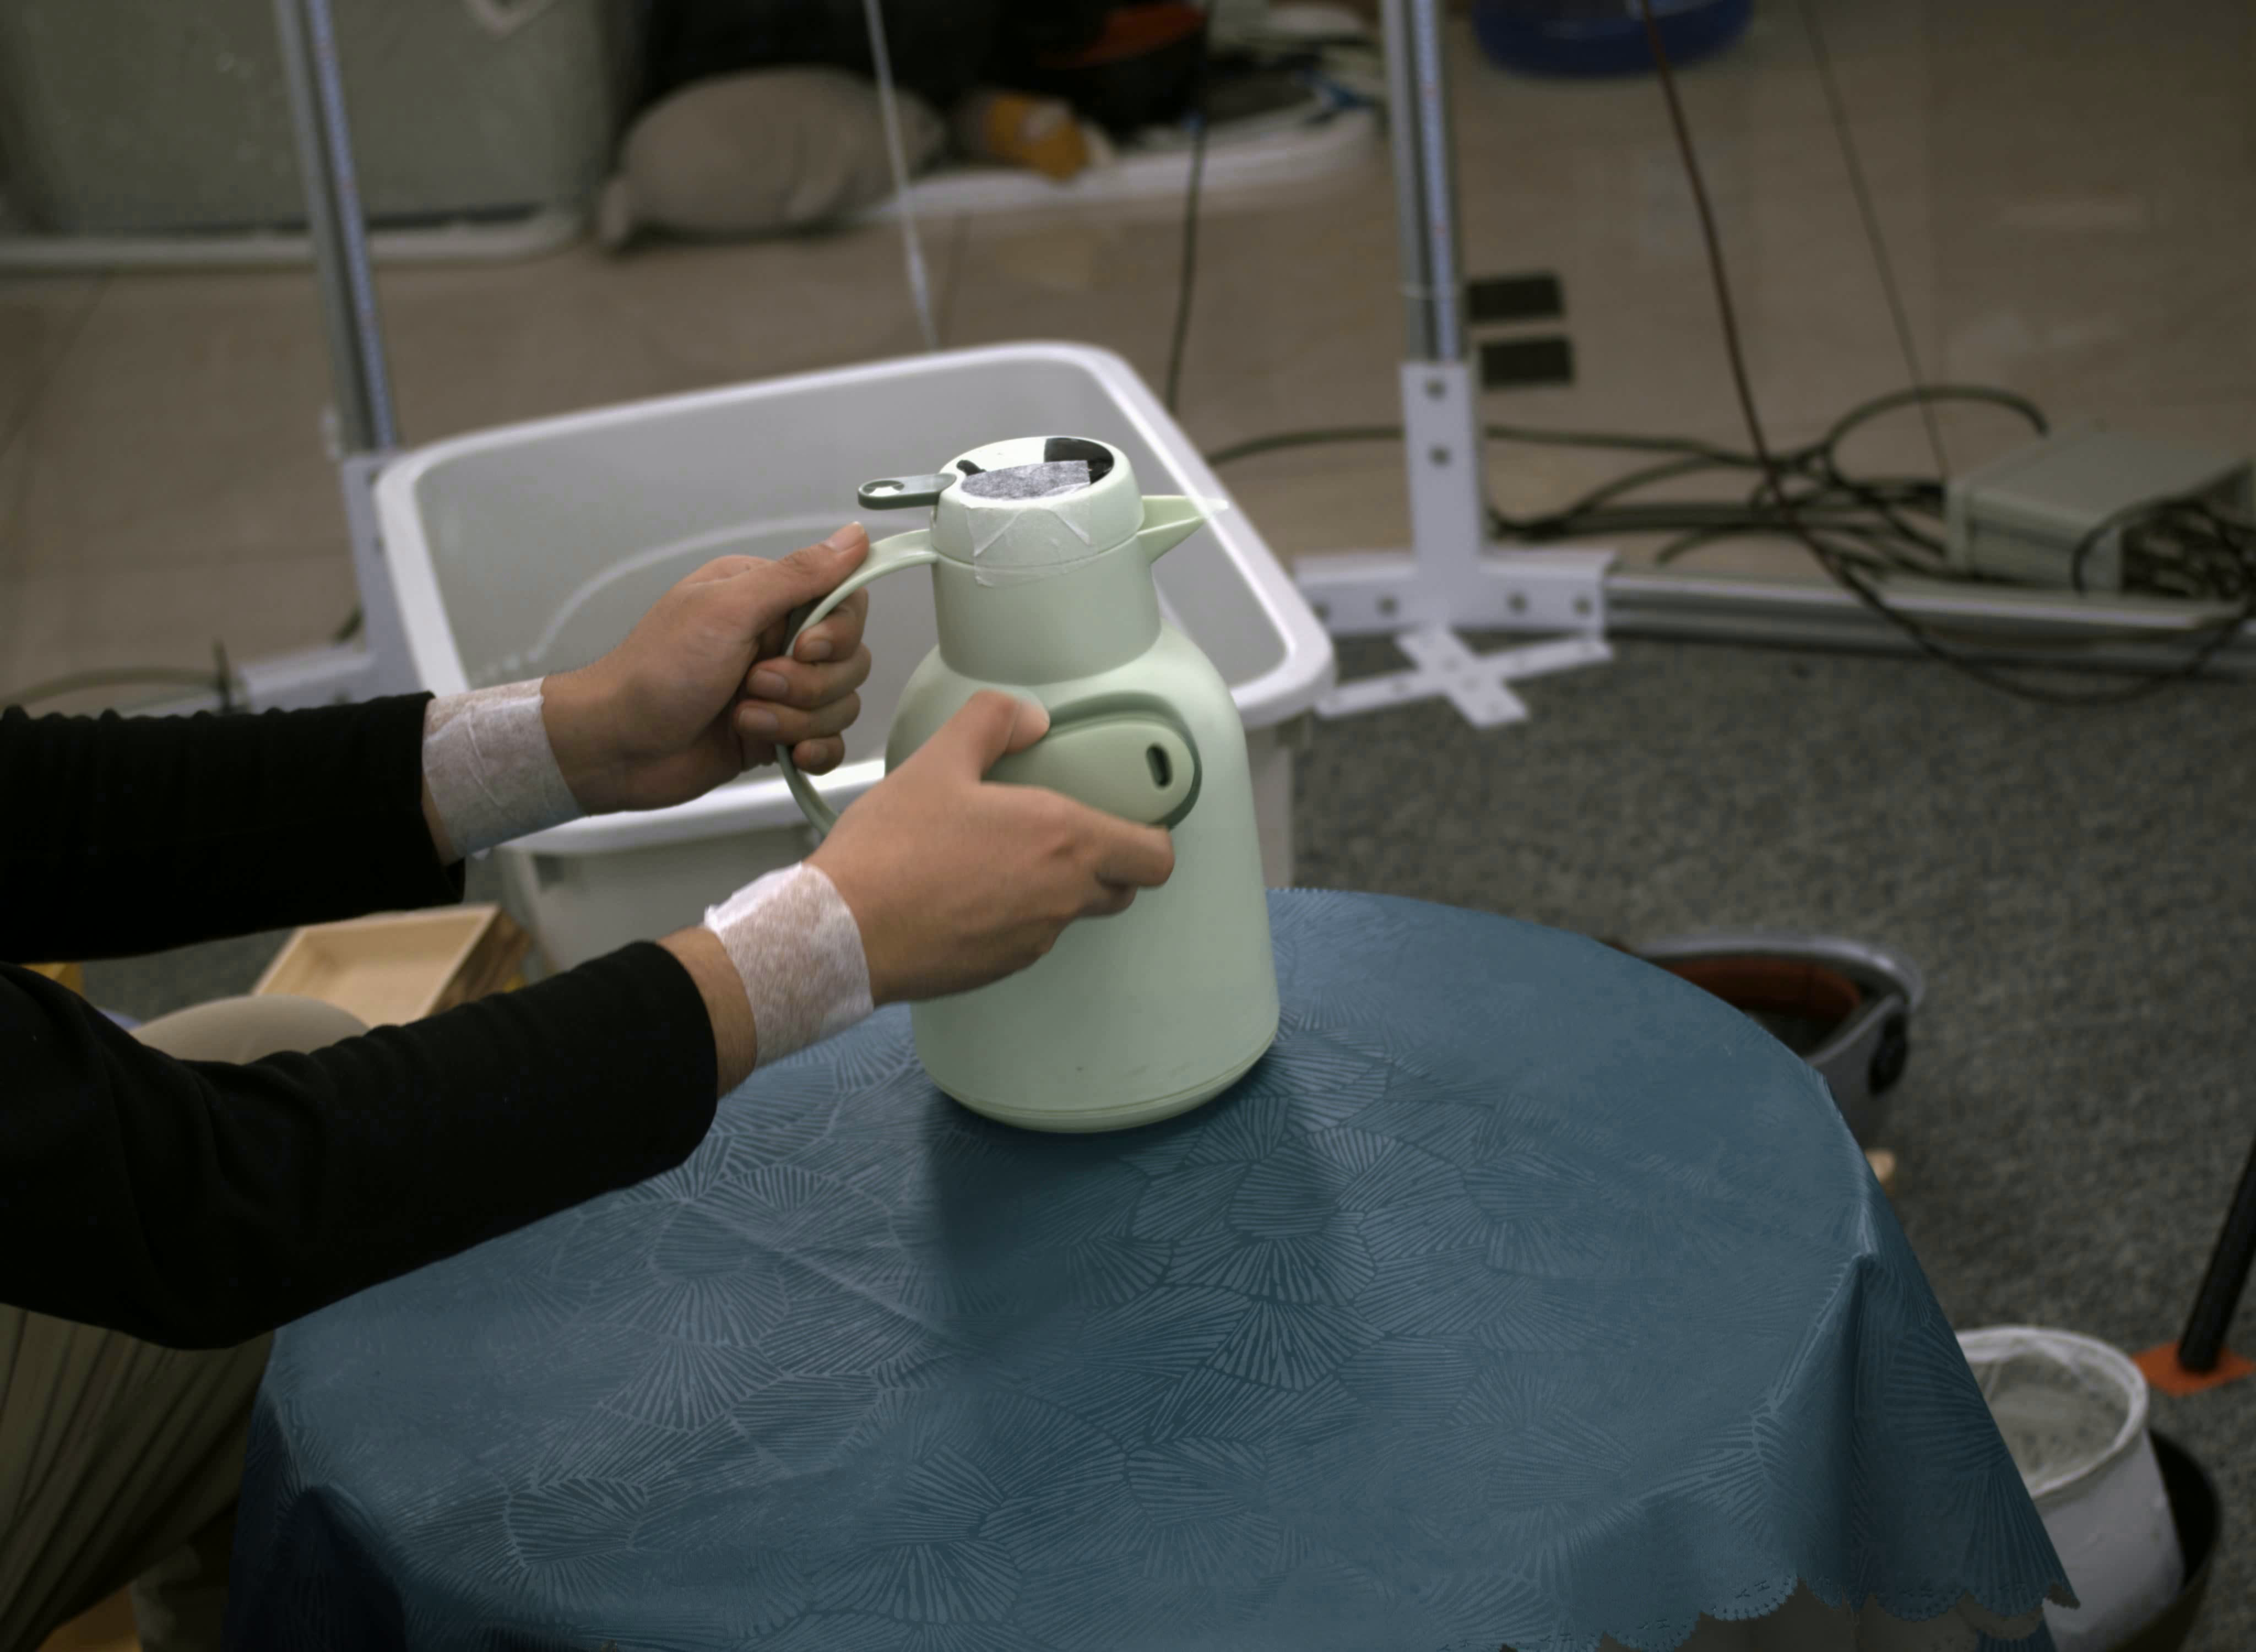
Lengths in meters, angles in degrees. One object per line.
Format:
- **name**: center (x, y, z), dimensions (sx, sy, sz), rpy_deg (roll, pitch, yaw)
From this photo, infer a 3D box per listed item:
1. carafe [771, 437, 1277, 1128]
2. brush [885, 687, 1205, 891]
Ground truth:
- **carafe**: center (-0.039, -0.020, 2.189), dimensions (0.186, 0.261, 0.142), rpy_deg (-9, 26, 0)
- **brush**: center (-0.028, -0.014, 2.085), dimensions (0.123, 0.060, 0.075), rpy_deg (-16, 7, 10)
